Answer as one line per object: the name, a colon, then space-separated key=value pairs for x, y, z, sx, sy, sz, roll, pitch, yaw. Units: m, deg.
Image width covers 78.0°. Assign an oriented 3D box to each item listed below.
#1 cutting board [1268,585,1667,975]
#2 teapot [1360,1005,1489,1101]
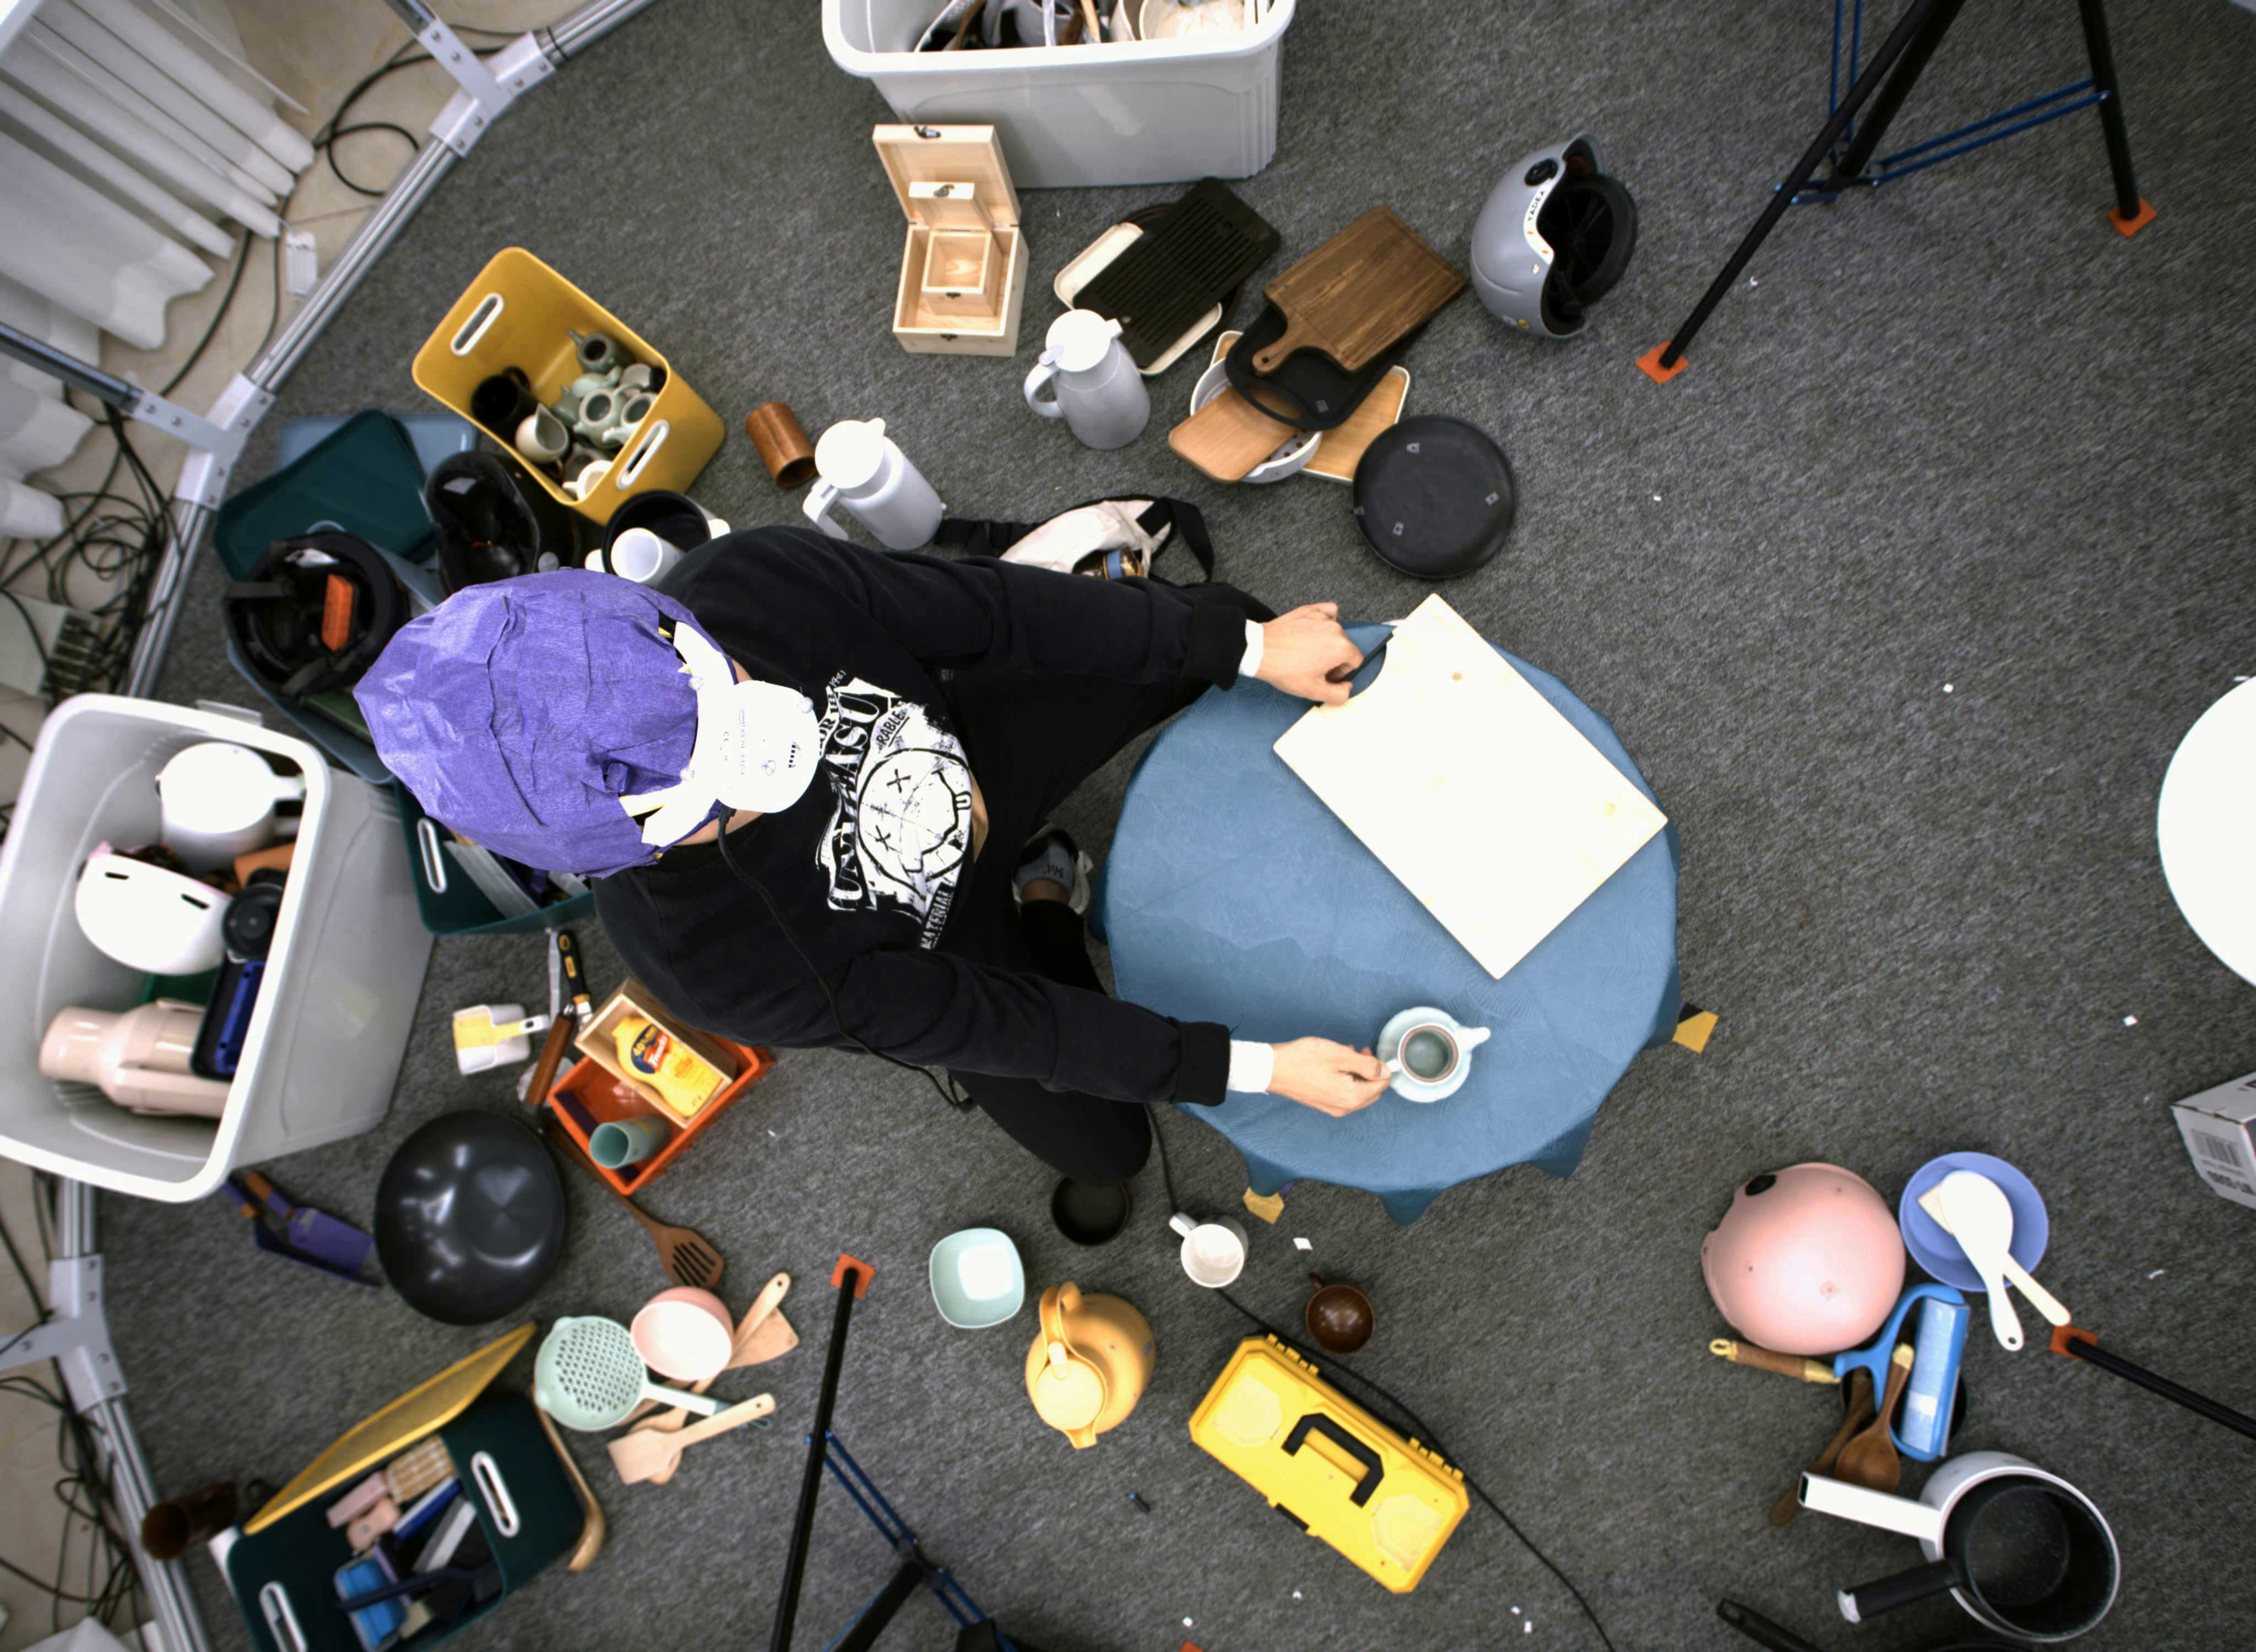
cutting board: x=0.351 y=-0.051 z=1.443 sx=0.252 sy=0.023 sz=0.347 roll=-45 pitch=80 yaw=6
teapot: x=0.297 y=0.230 z=1.399 sx=0.137 sy=0.061 sz=0.095 roll=-22 pitch=83 yaw=1
